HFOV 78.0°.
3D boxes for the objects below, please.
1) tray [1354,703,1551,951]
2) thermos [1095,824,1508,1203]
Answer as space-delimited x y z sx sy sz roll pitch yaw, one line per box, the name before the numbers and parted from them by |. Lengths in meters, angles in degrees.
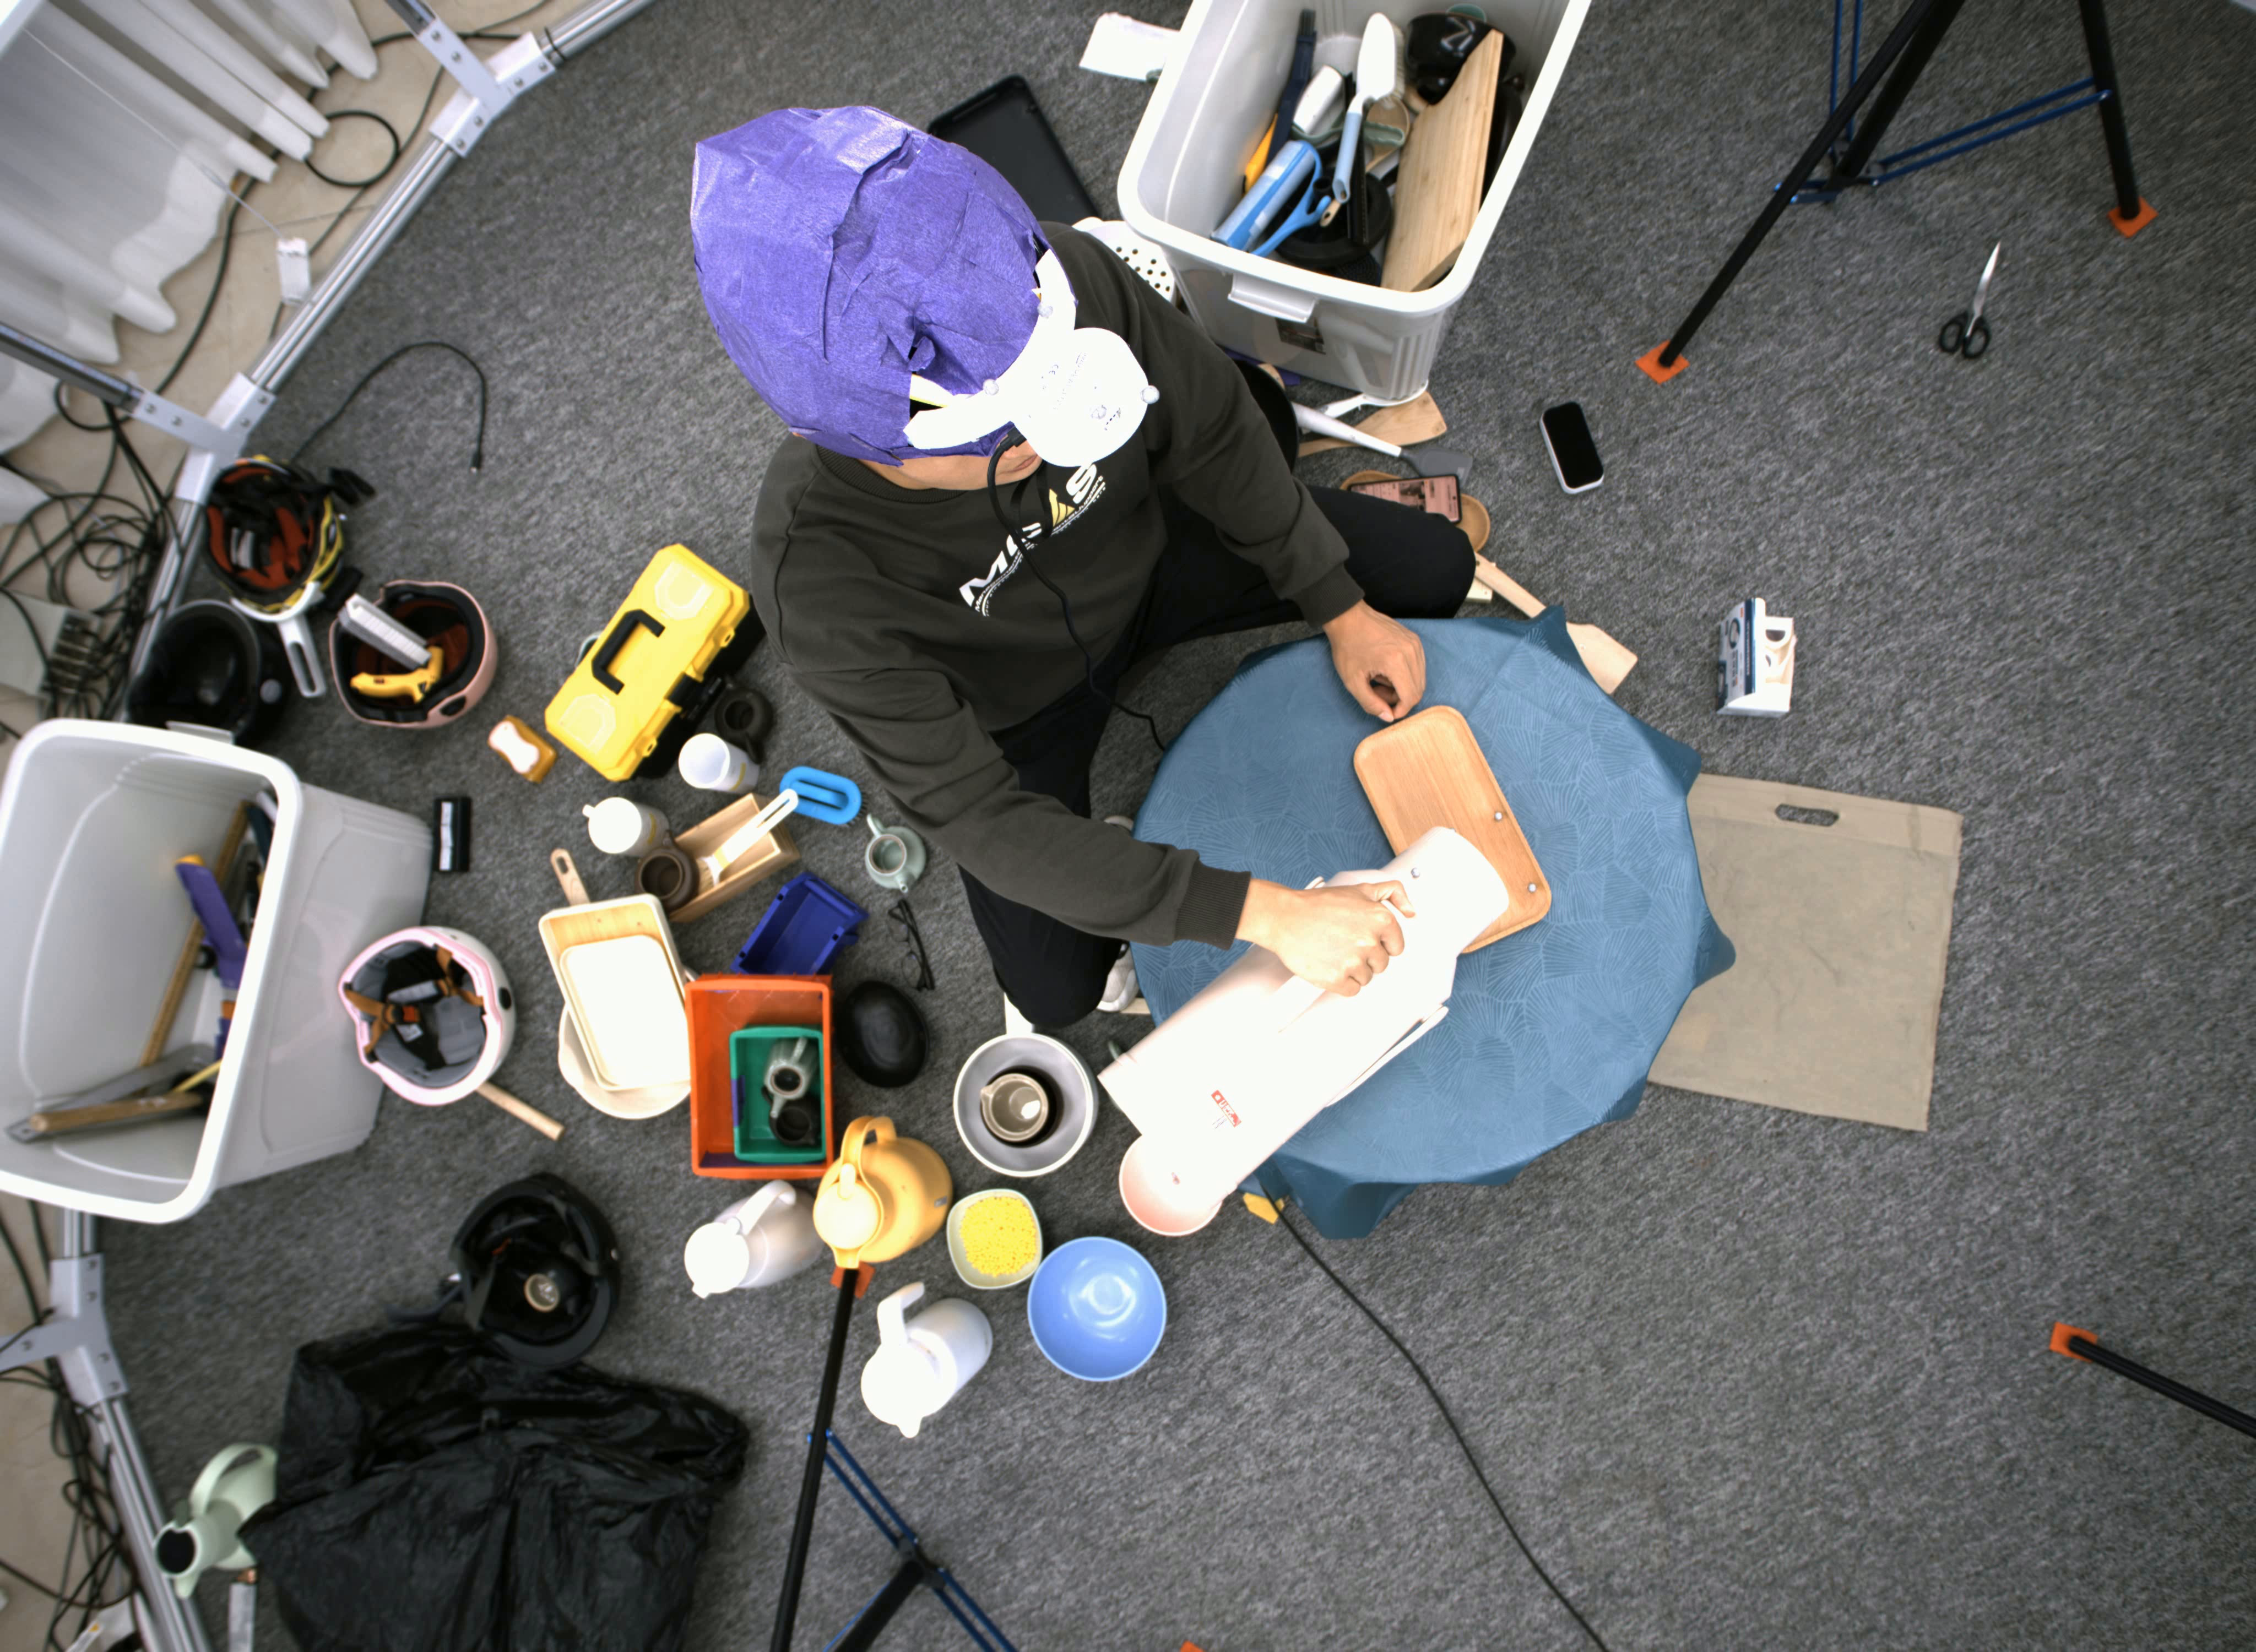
tray | 0.339 -0.001 1.443 0.131 0.023 0.249 -24 82 6
thermos | 0.169 0.155 1.281 0.404 0.210 0.174 -38 73 -6
